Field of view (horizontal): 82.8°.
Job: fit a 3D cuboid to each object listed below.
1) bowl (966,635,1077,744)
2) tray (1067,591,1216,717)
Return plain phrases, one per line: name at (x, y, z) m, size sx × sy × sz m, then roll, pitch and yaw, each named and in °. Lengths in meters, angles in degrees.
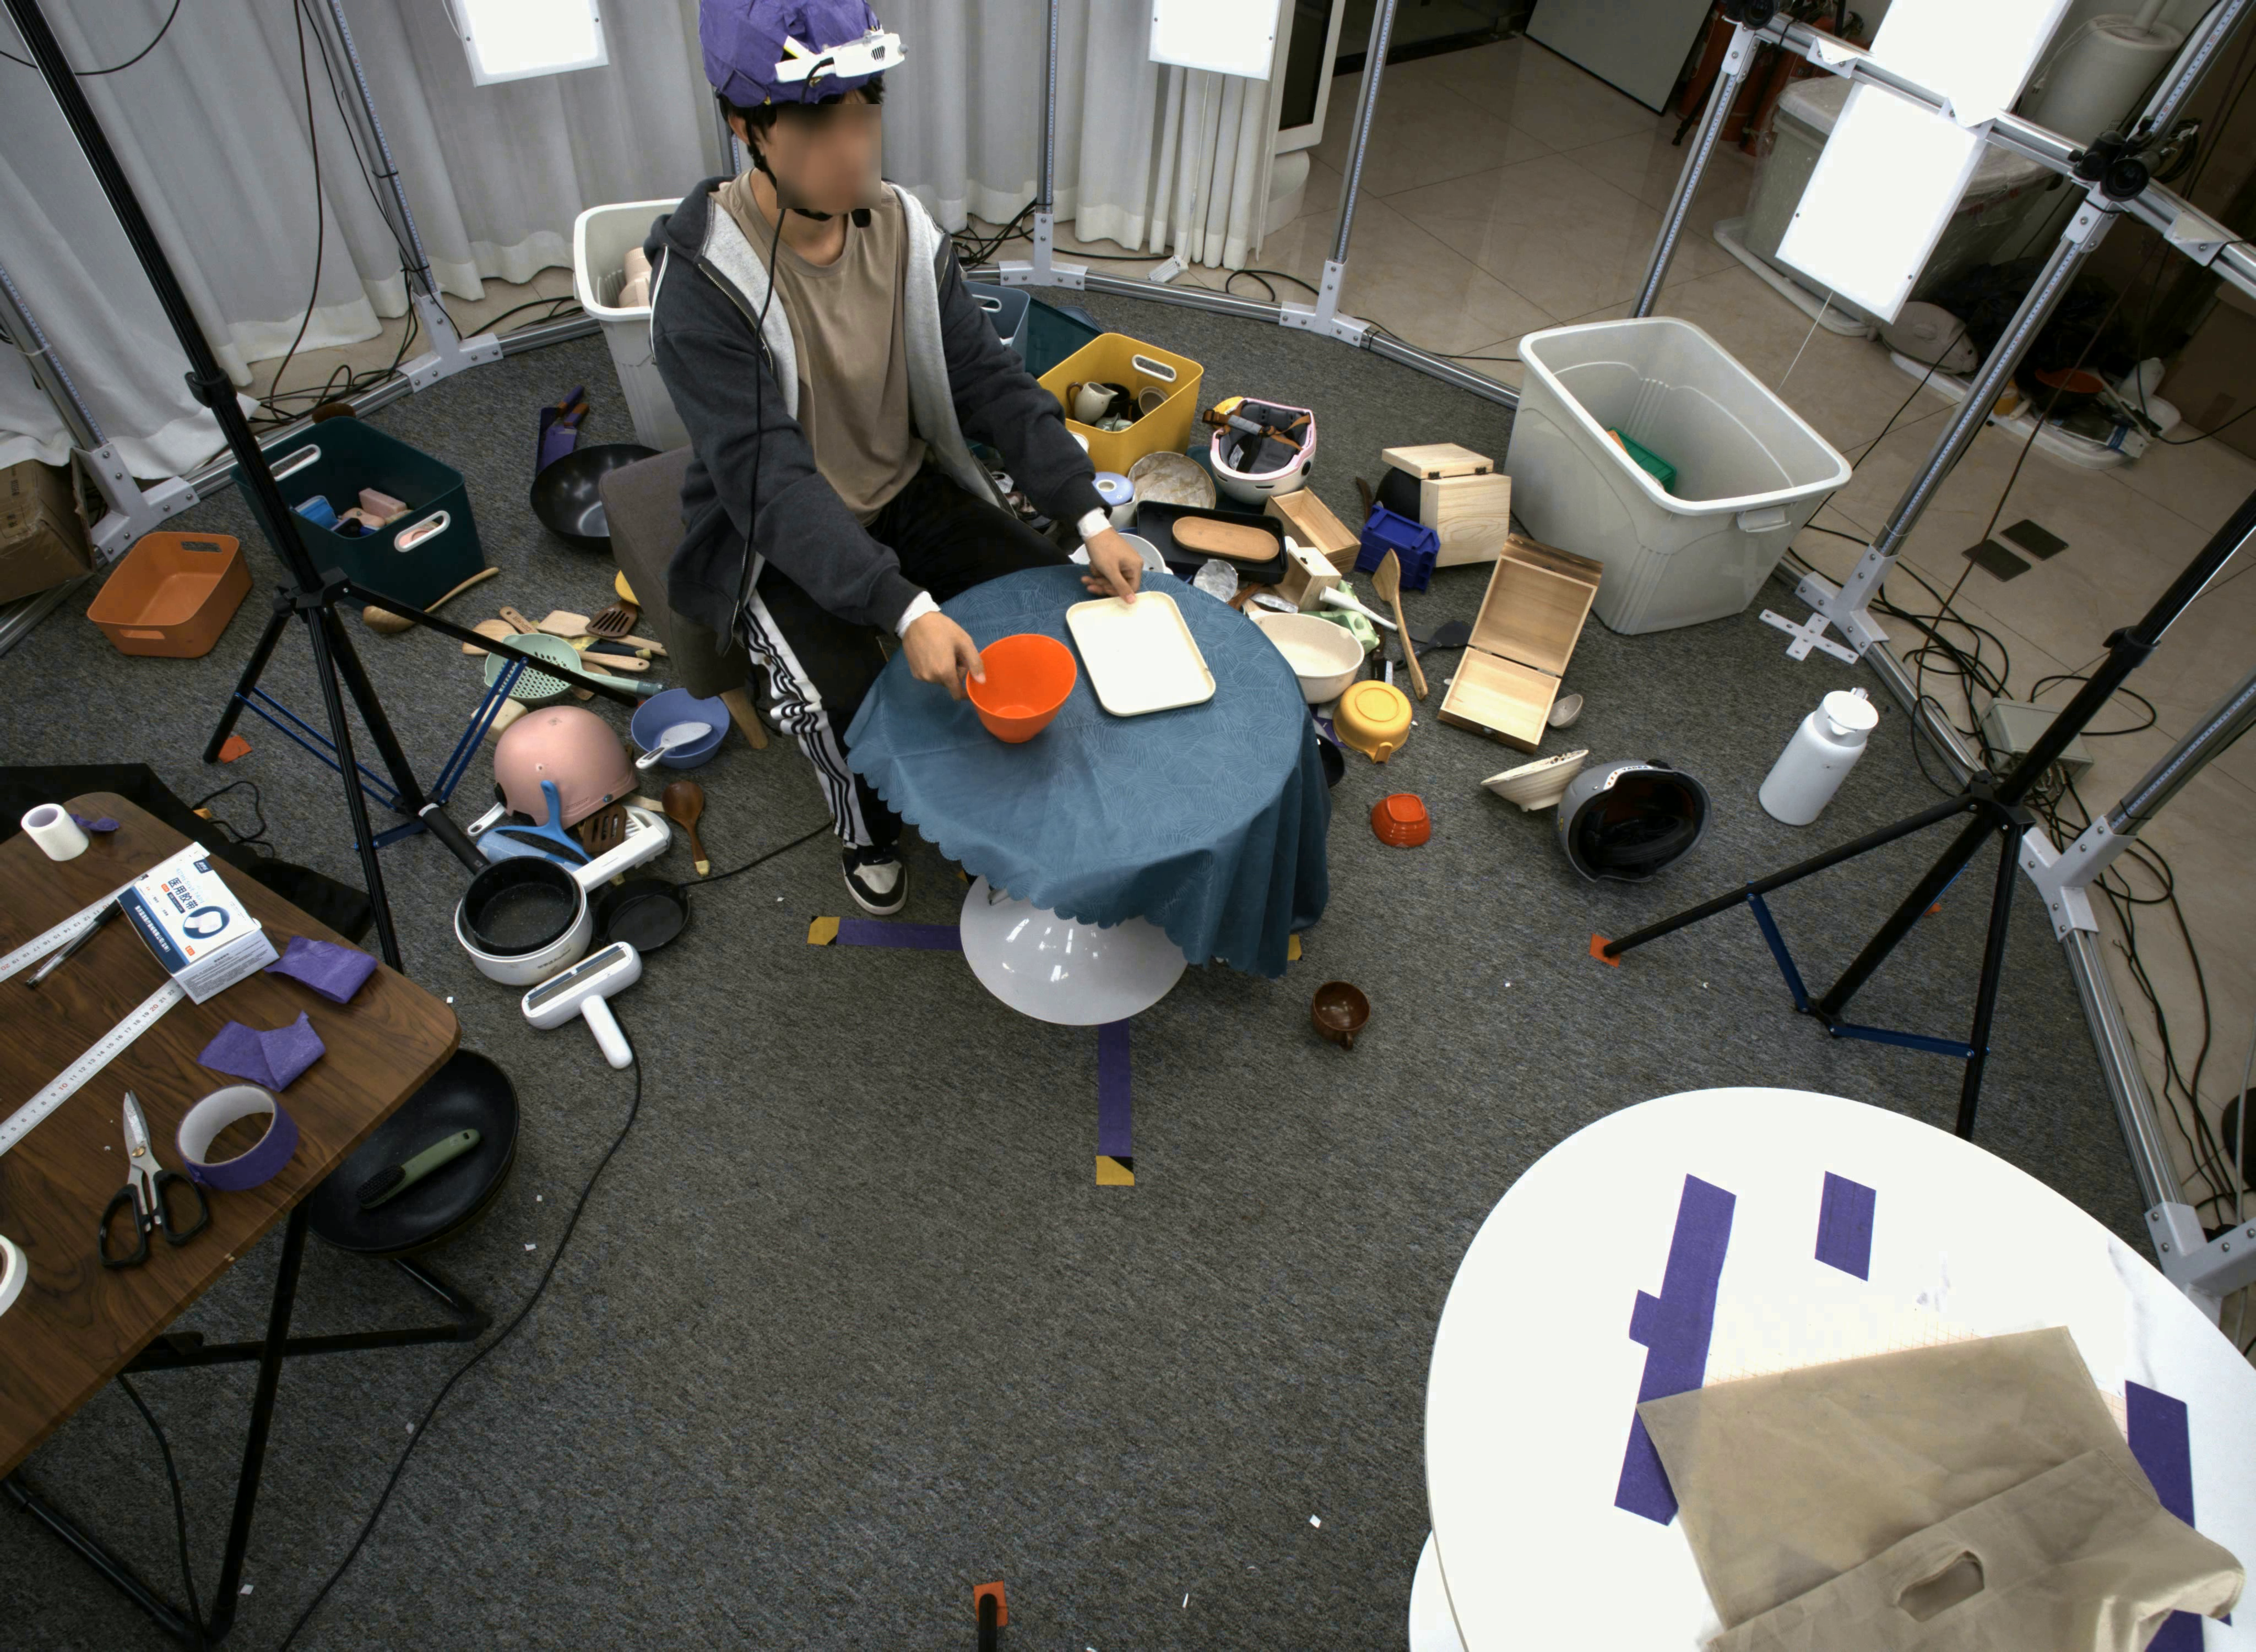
bowl at (-0.144, -0.174, 1.742) m, size 0.148 × 0.102 × 0.152 m, roll 3°, pitch 50°, yaw -3°
tray at (0.017, -0.253, 1.876) m, size 0.171 × 0.017 × 0.245 m, roll -12°, pitch 51°, yaw -13°
